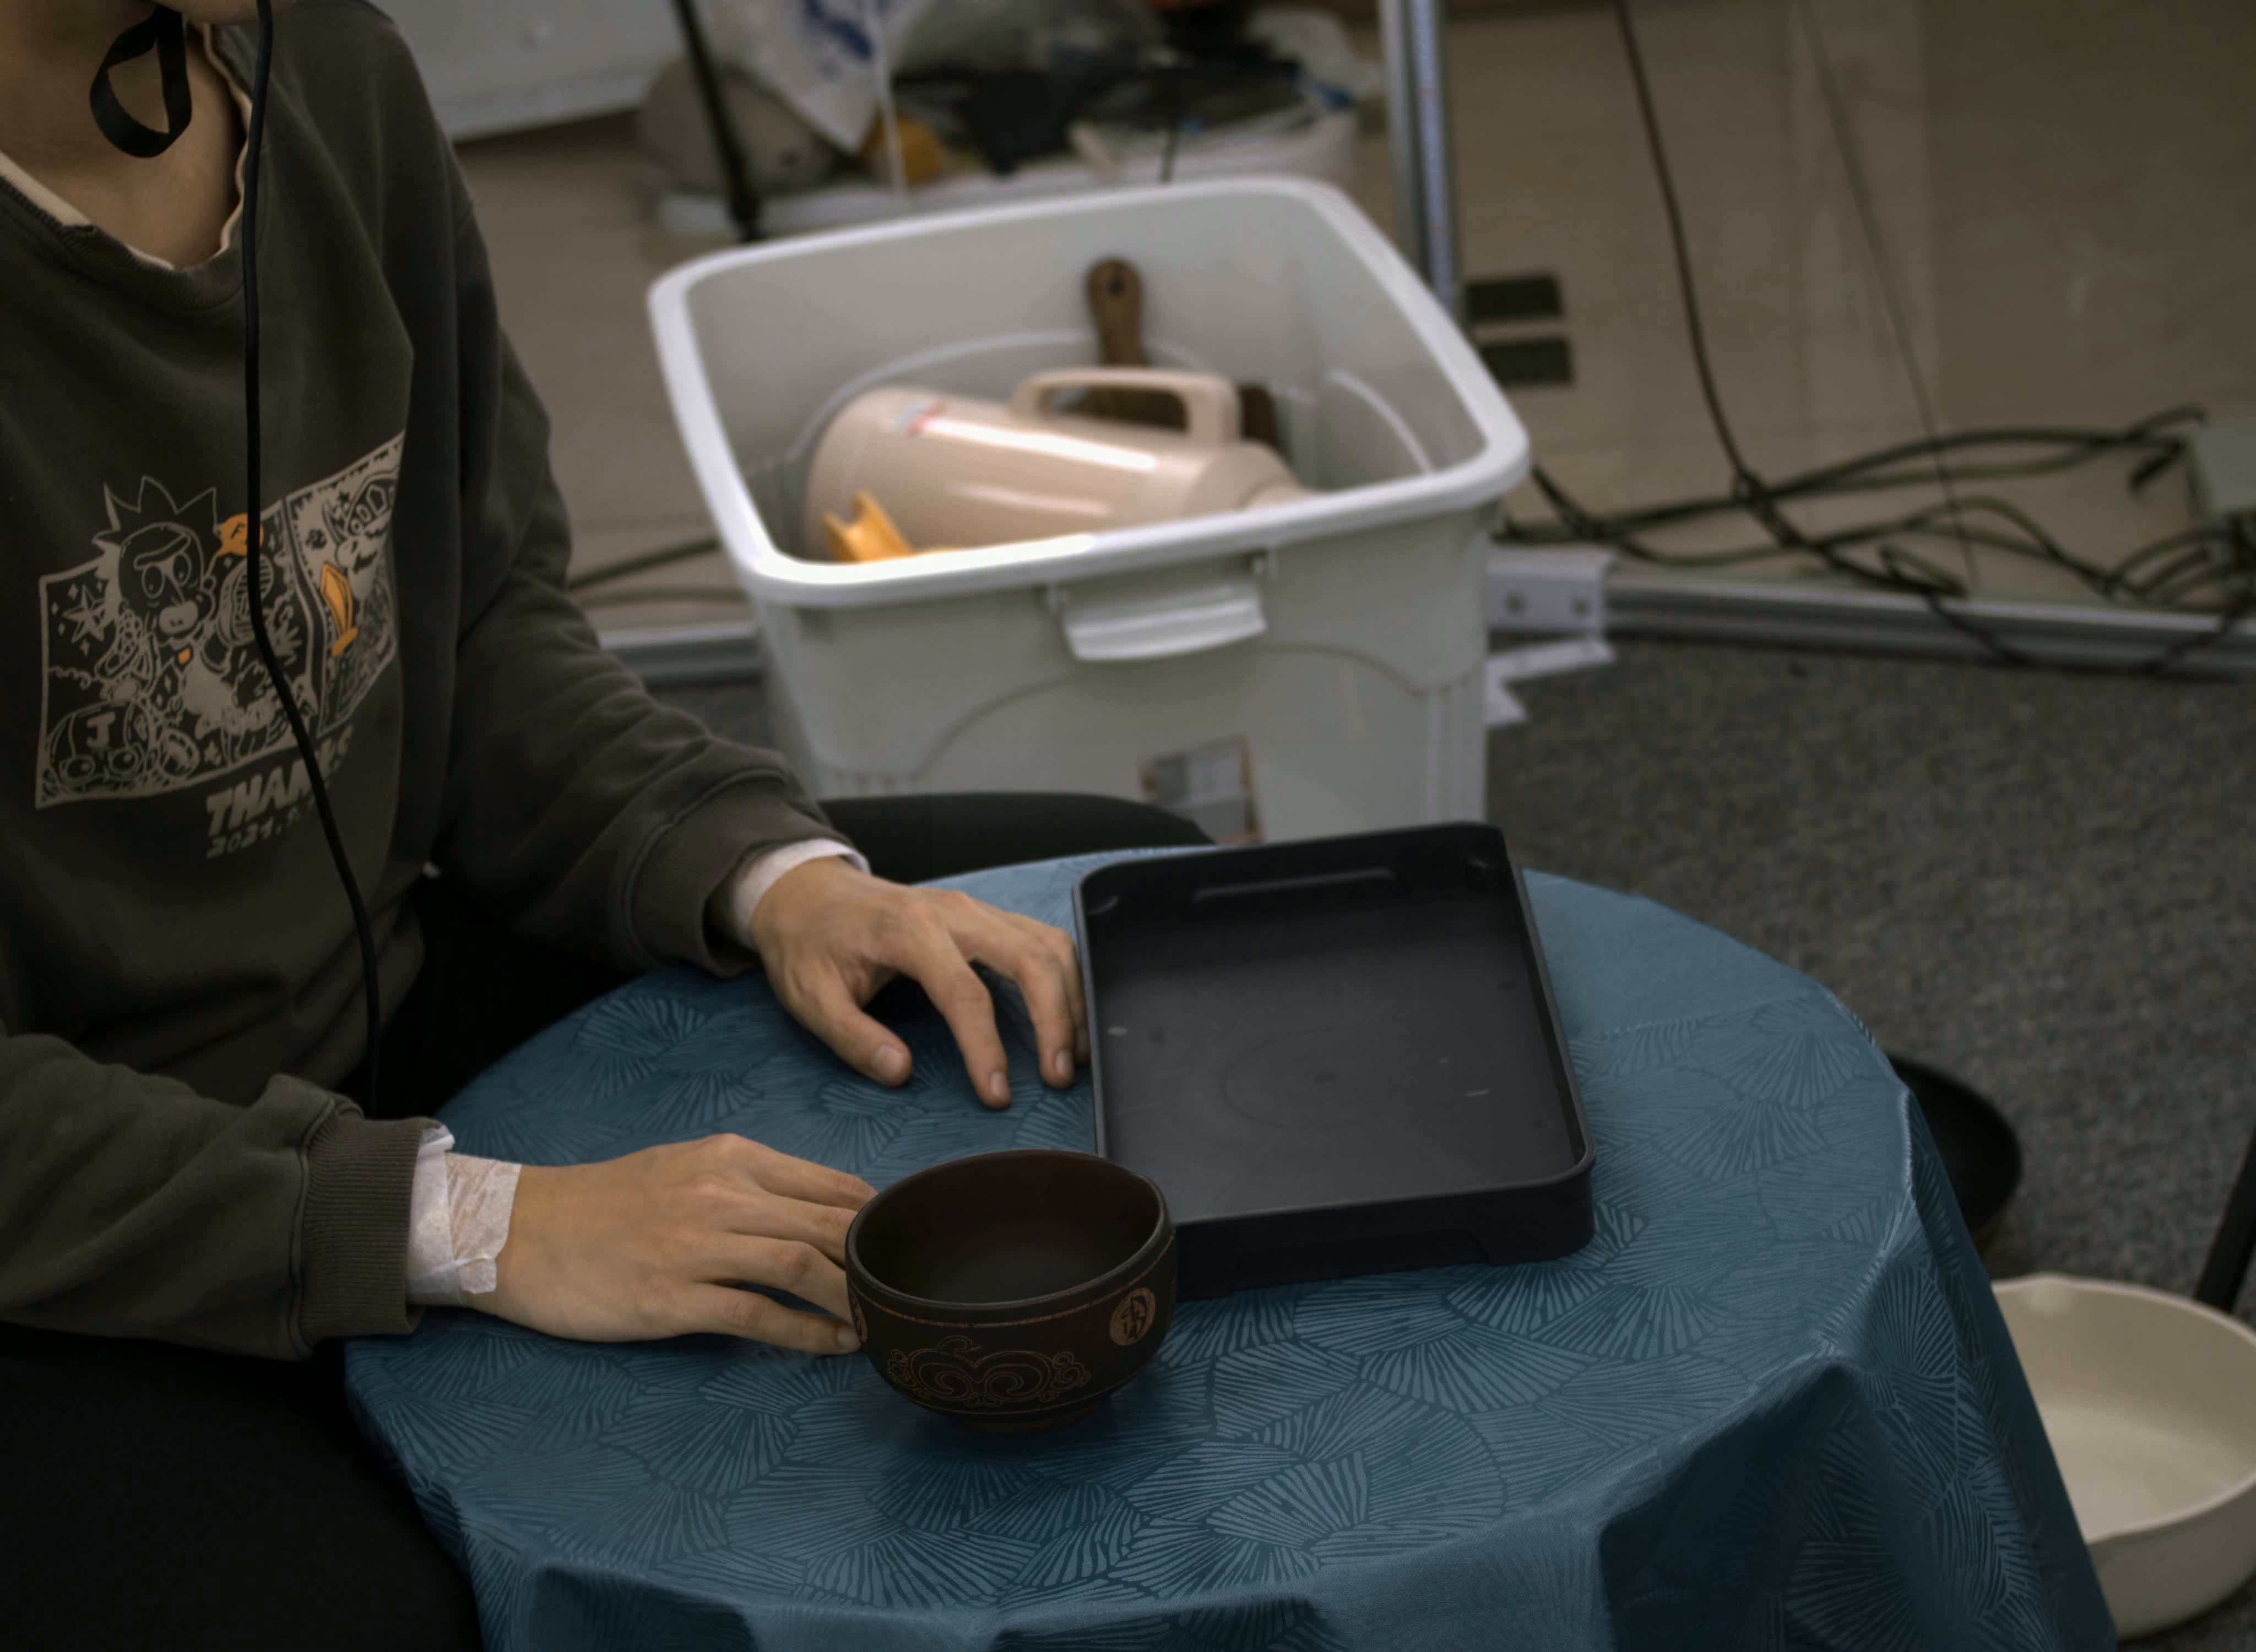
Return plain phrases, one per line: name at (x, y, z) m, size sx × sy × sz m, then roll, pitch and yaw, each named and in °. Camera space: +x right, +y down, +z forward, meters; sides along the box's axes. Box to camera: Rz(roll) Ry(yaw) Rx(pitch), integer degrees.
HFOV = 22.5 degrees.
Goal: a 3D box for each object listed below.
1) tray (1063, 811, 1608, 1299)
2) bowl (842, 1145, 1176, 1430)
tray at (0.076, 0.084, 2.203) m, size 0.184 × 0.037 × 0.313 m, roll -8°, pitch 25°, yaw -1°
bowl at (-0.040, 0.170, 2.005) m, size 0.118 × 0.071 × 0.116 m, roll -7°, pitch 25°, yaw 3°
